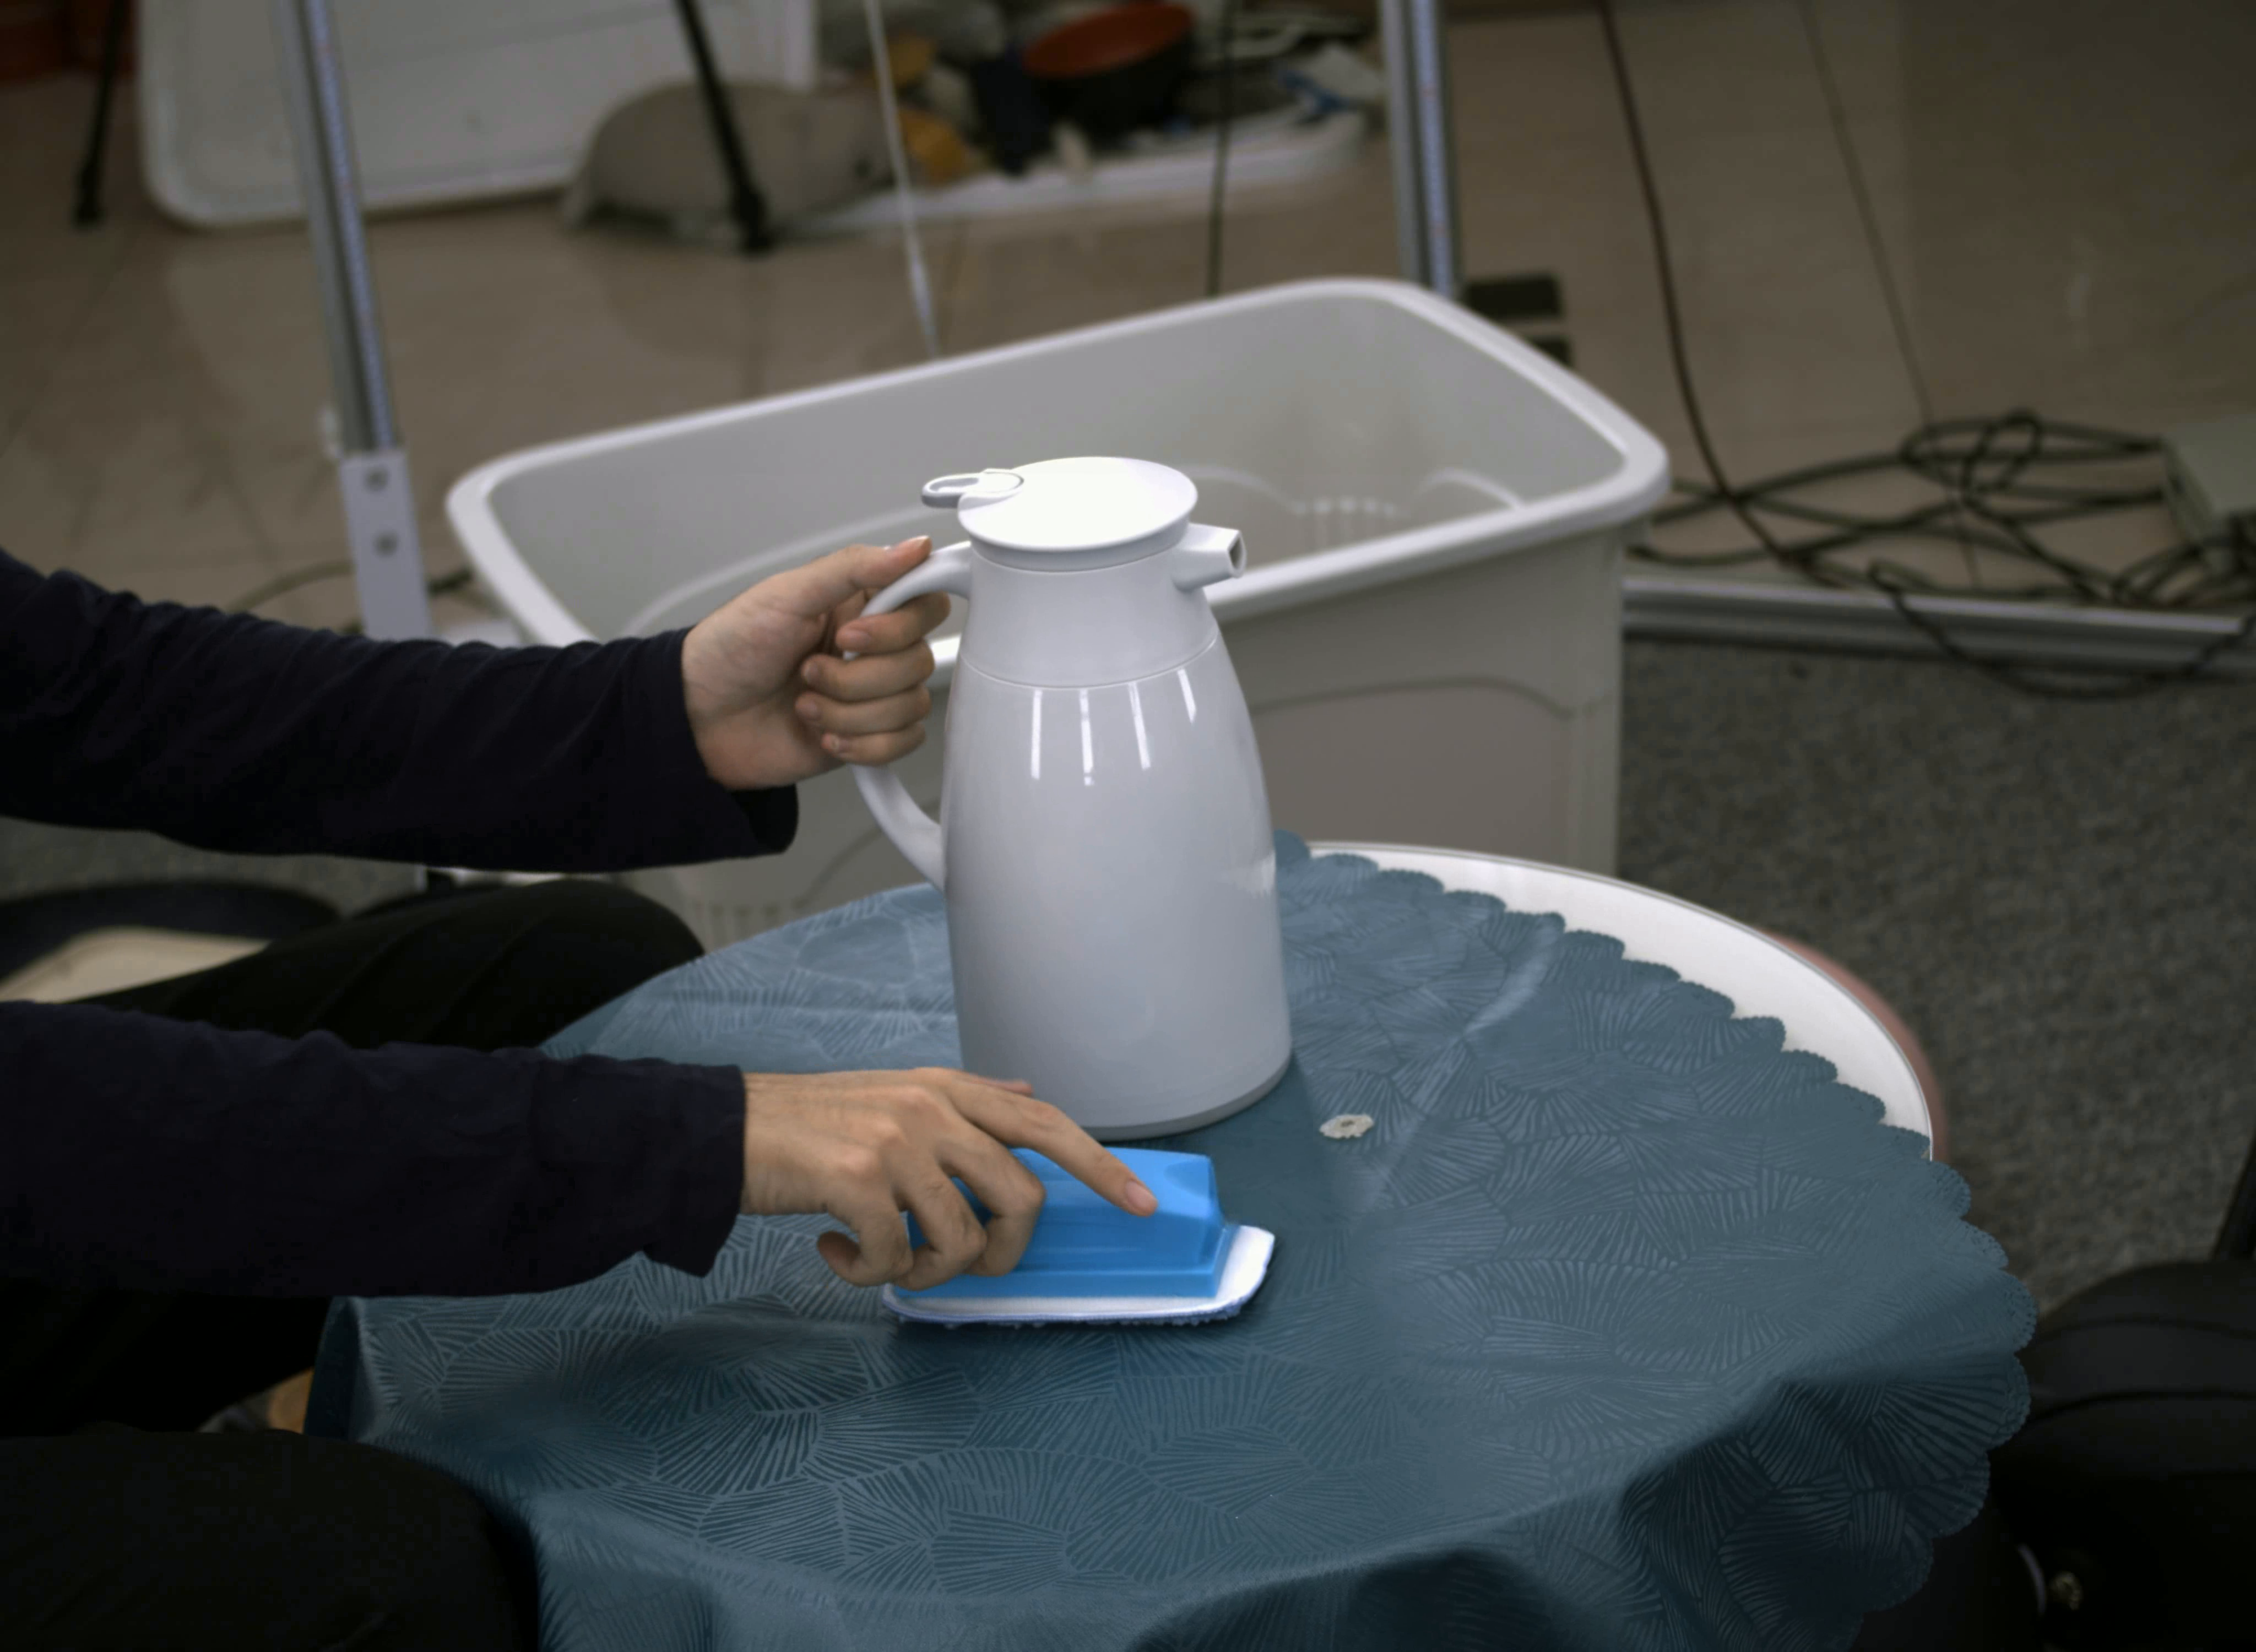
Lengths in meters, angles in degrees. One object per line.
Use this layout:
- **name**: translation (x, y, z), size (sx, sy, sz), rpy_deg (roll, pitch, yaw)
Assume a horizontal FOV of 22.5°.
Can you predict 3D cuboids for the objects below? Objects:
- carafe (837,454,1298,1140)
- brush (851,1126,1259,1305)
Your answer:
- **carafe**: translation (-0.028, -0.018, 2.189), size (0.167, 0.252, 0.130), rpy_deg (1, 27, 15)
- **brush**: translation (-0.027, 0.141, 2.077), size (0.143, 0.057, 0.083), rpy_deg (2, 23, 13)
